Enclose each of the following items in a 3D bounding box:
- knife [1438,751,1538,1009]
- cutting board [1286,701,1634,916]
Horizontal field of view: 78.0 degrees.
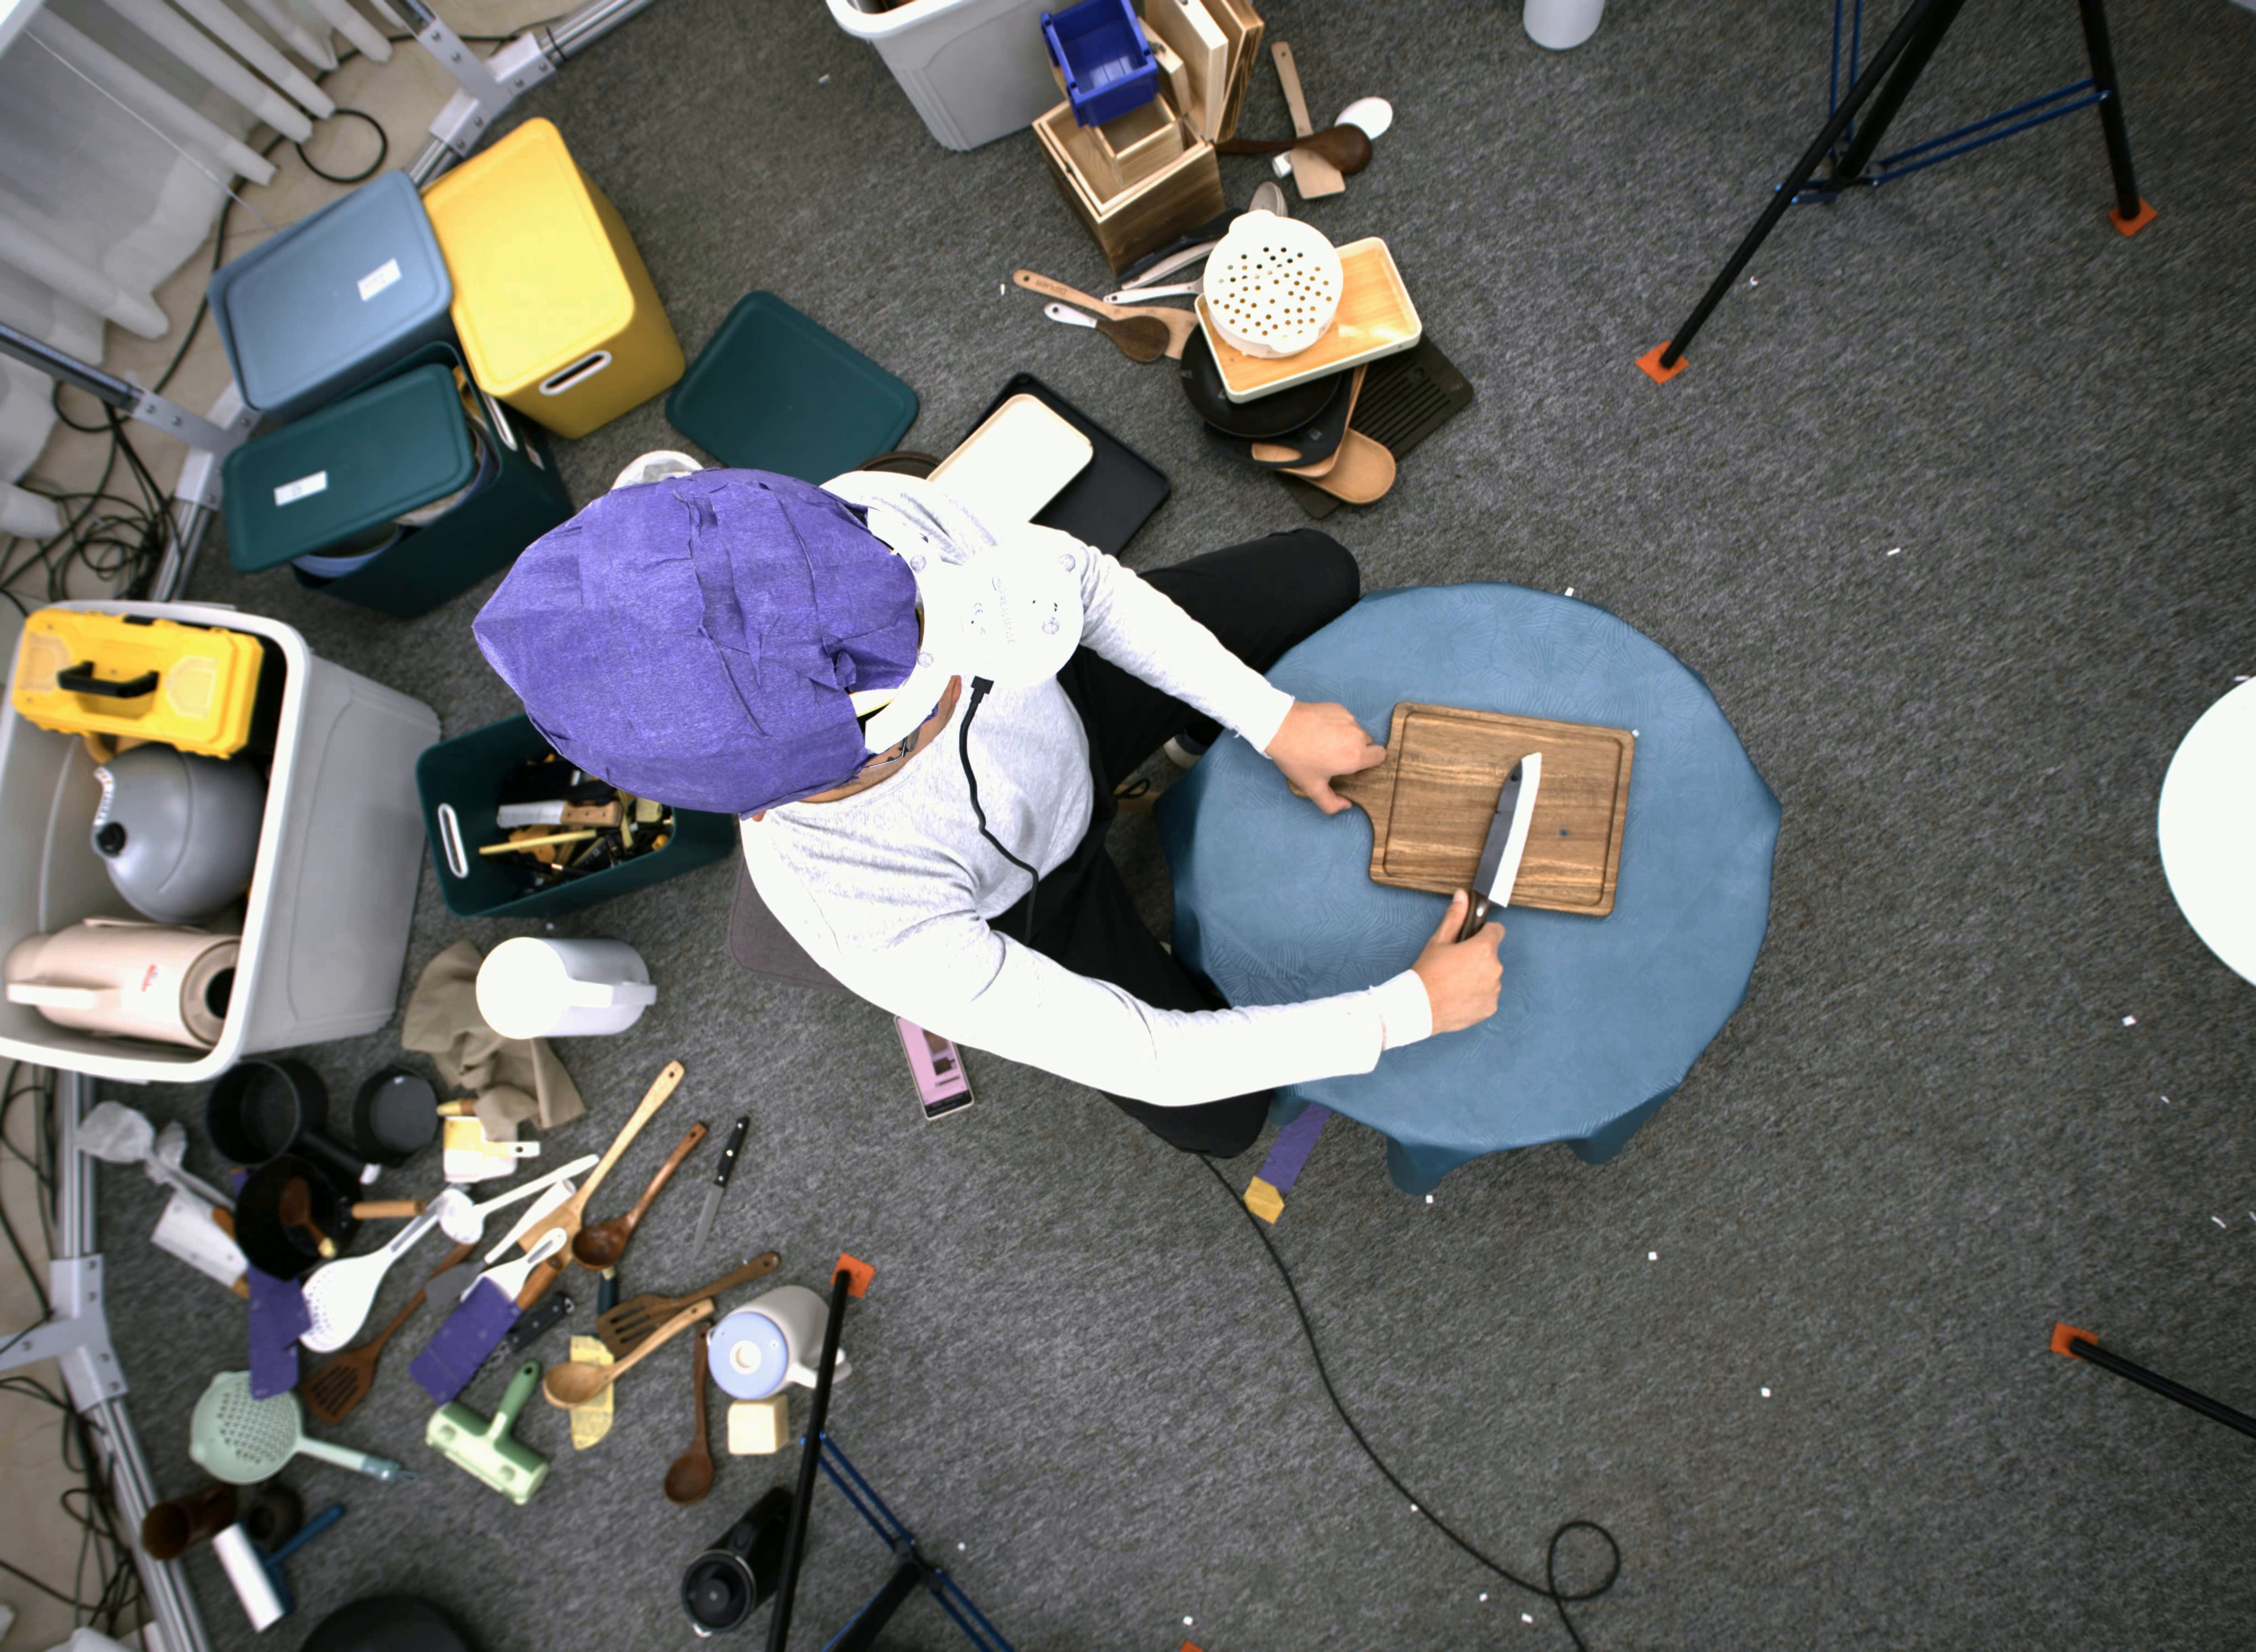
[{"bbox_3d":[0.370,0.051,1.403,0.050,0.020,0.287,23,82,-17],"label":"knife"},{"bbox_3d":[0.341,-0.028,1.441,0.353,0.023,0.200,8,87,11],"label":"cutting board"}]
